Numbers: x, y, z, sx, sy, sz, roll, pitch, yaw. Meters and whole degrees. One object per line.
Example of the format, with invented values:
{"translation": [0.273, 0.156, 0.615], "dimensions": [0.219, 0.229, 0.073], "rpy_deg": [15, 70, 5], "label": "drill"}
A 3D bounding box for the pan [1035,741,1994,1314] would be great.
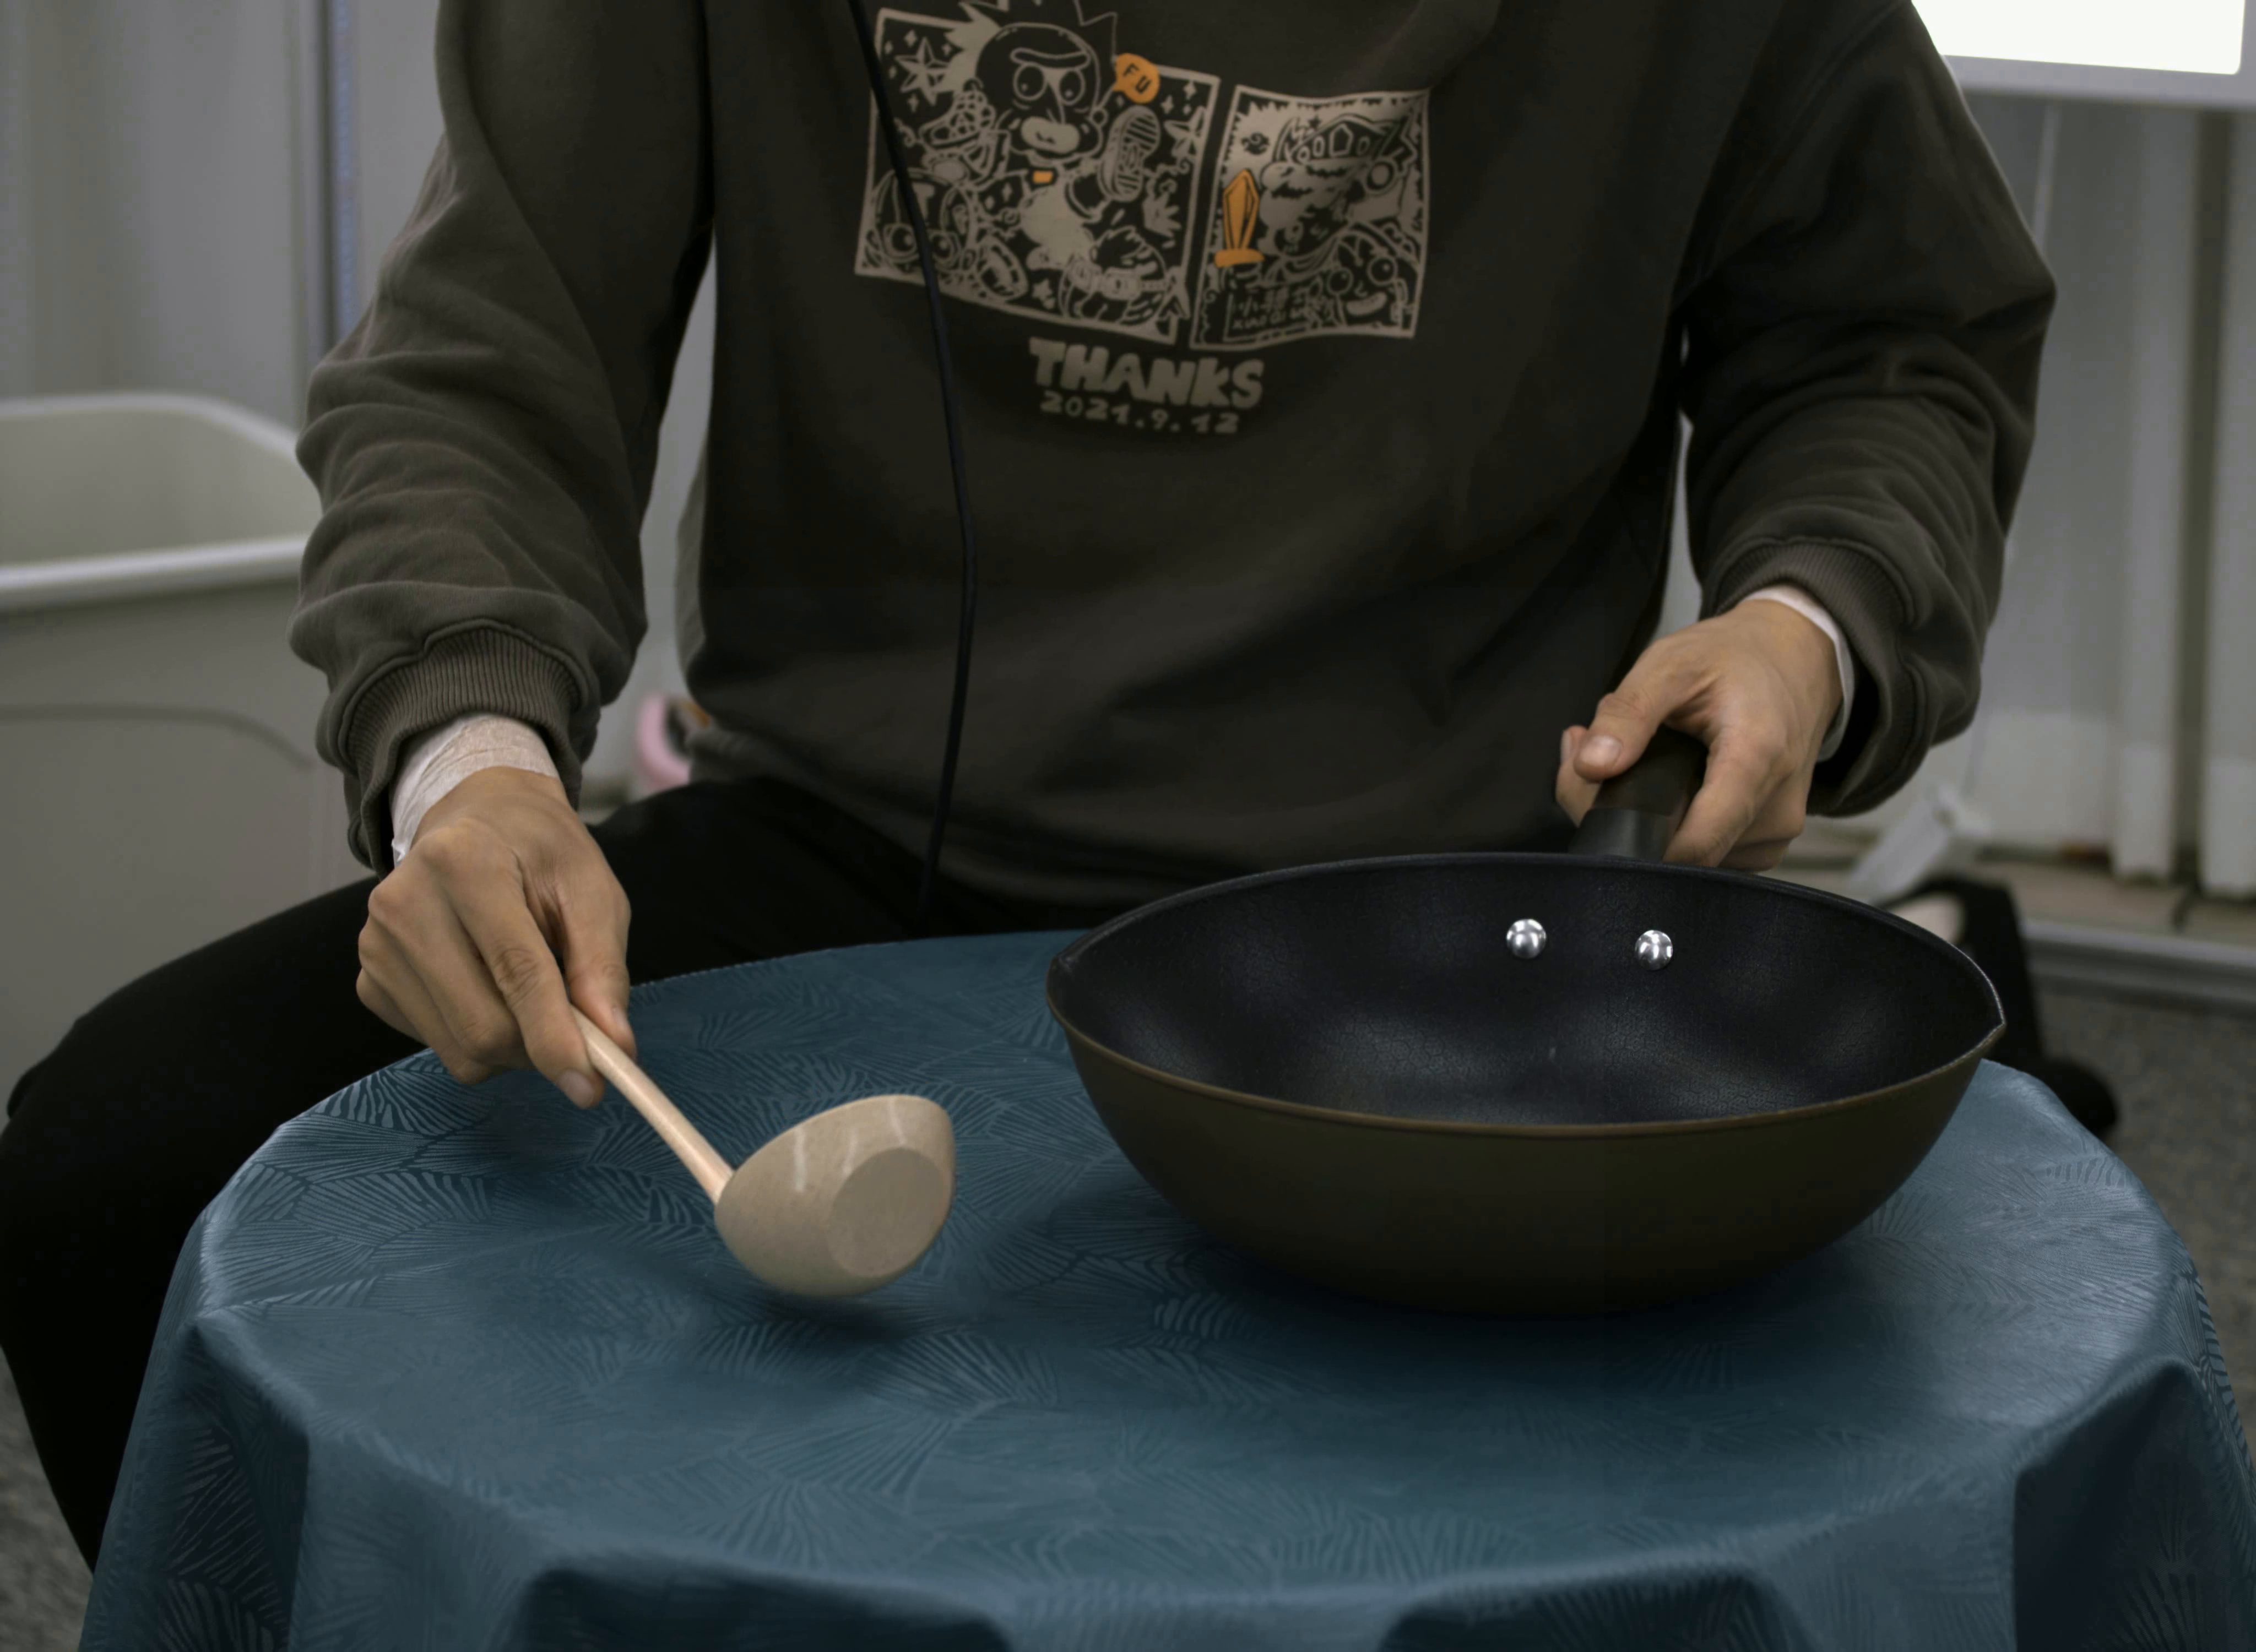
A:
{"translation": [0.137, 0.061, 1.667], "dimensions": [0.286, 0.087, 0.463], "rpy_deg": [4, 15, 13], "label": "pan"}

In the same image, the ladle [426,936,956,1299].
{"translation": [-0.139, 0.059, 1.570], "dimensions": [0.072, 0.073, 0.251], "rpy_deg": [-7, 30, -37], "label": "ladle"}
